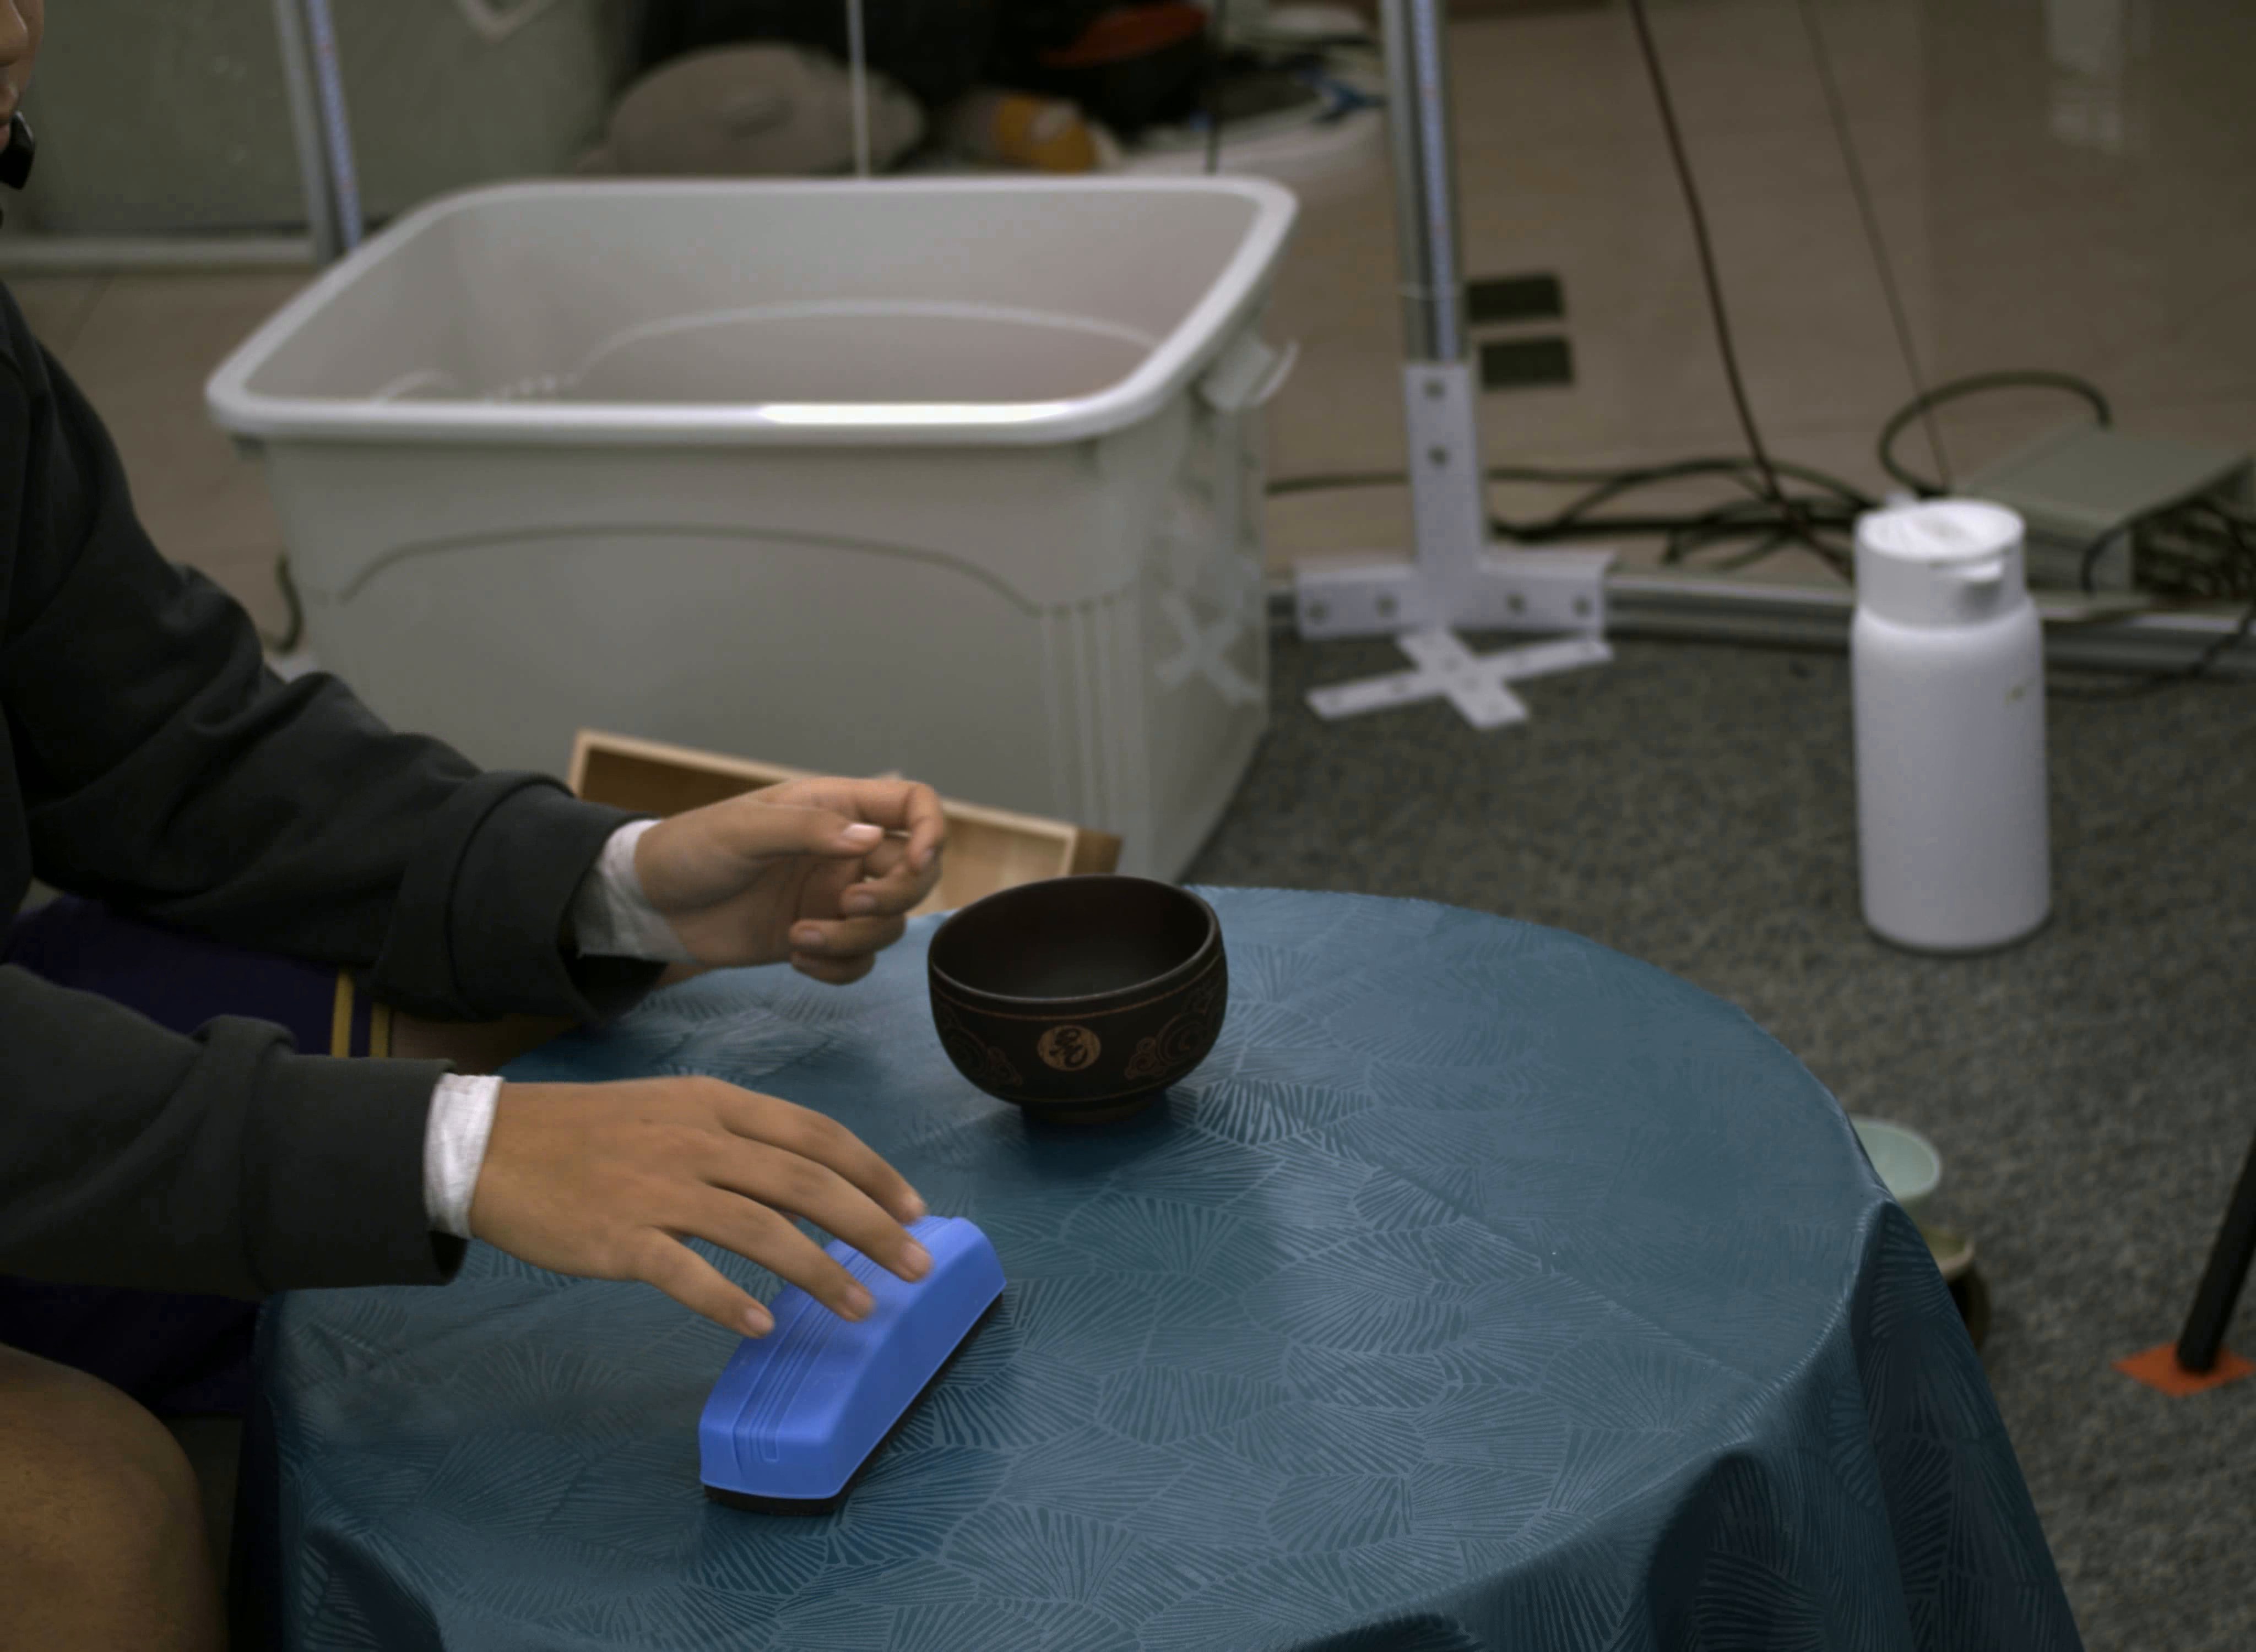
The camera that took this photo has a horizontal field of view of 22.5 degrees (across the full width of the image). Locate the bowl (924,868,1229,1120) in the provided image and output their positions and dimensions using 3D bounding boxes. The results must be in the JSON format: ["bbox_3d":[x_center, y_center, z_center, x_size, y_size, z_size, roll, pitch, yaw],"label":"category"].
[{"bbox_3d":[-0.018,0.071,2.208,0.118,0.071,0.116,-6,26,3],"label":"bowl"}]

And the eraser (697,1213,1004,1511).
[{"bbox_3d":[-0.098,0.184,2.019,0.053,0.048,0.160,5,27,22],"label":"eraser"}]
